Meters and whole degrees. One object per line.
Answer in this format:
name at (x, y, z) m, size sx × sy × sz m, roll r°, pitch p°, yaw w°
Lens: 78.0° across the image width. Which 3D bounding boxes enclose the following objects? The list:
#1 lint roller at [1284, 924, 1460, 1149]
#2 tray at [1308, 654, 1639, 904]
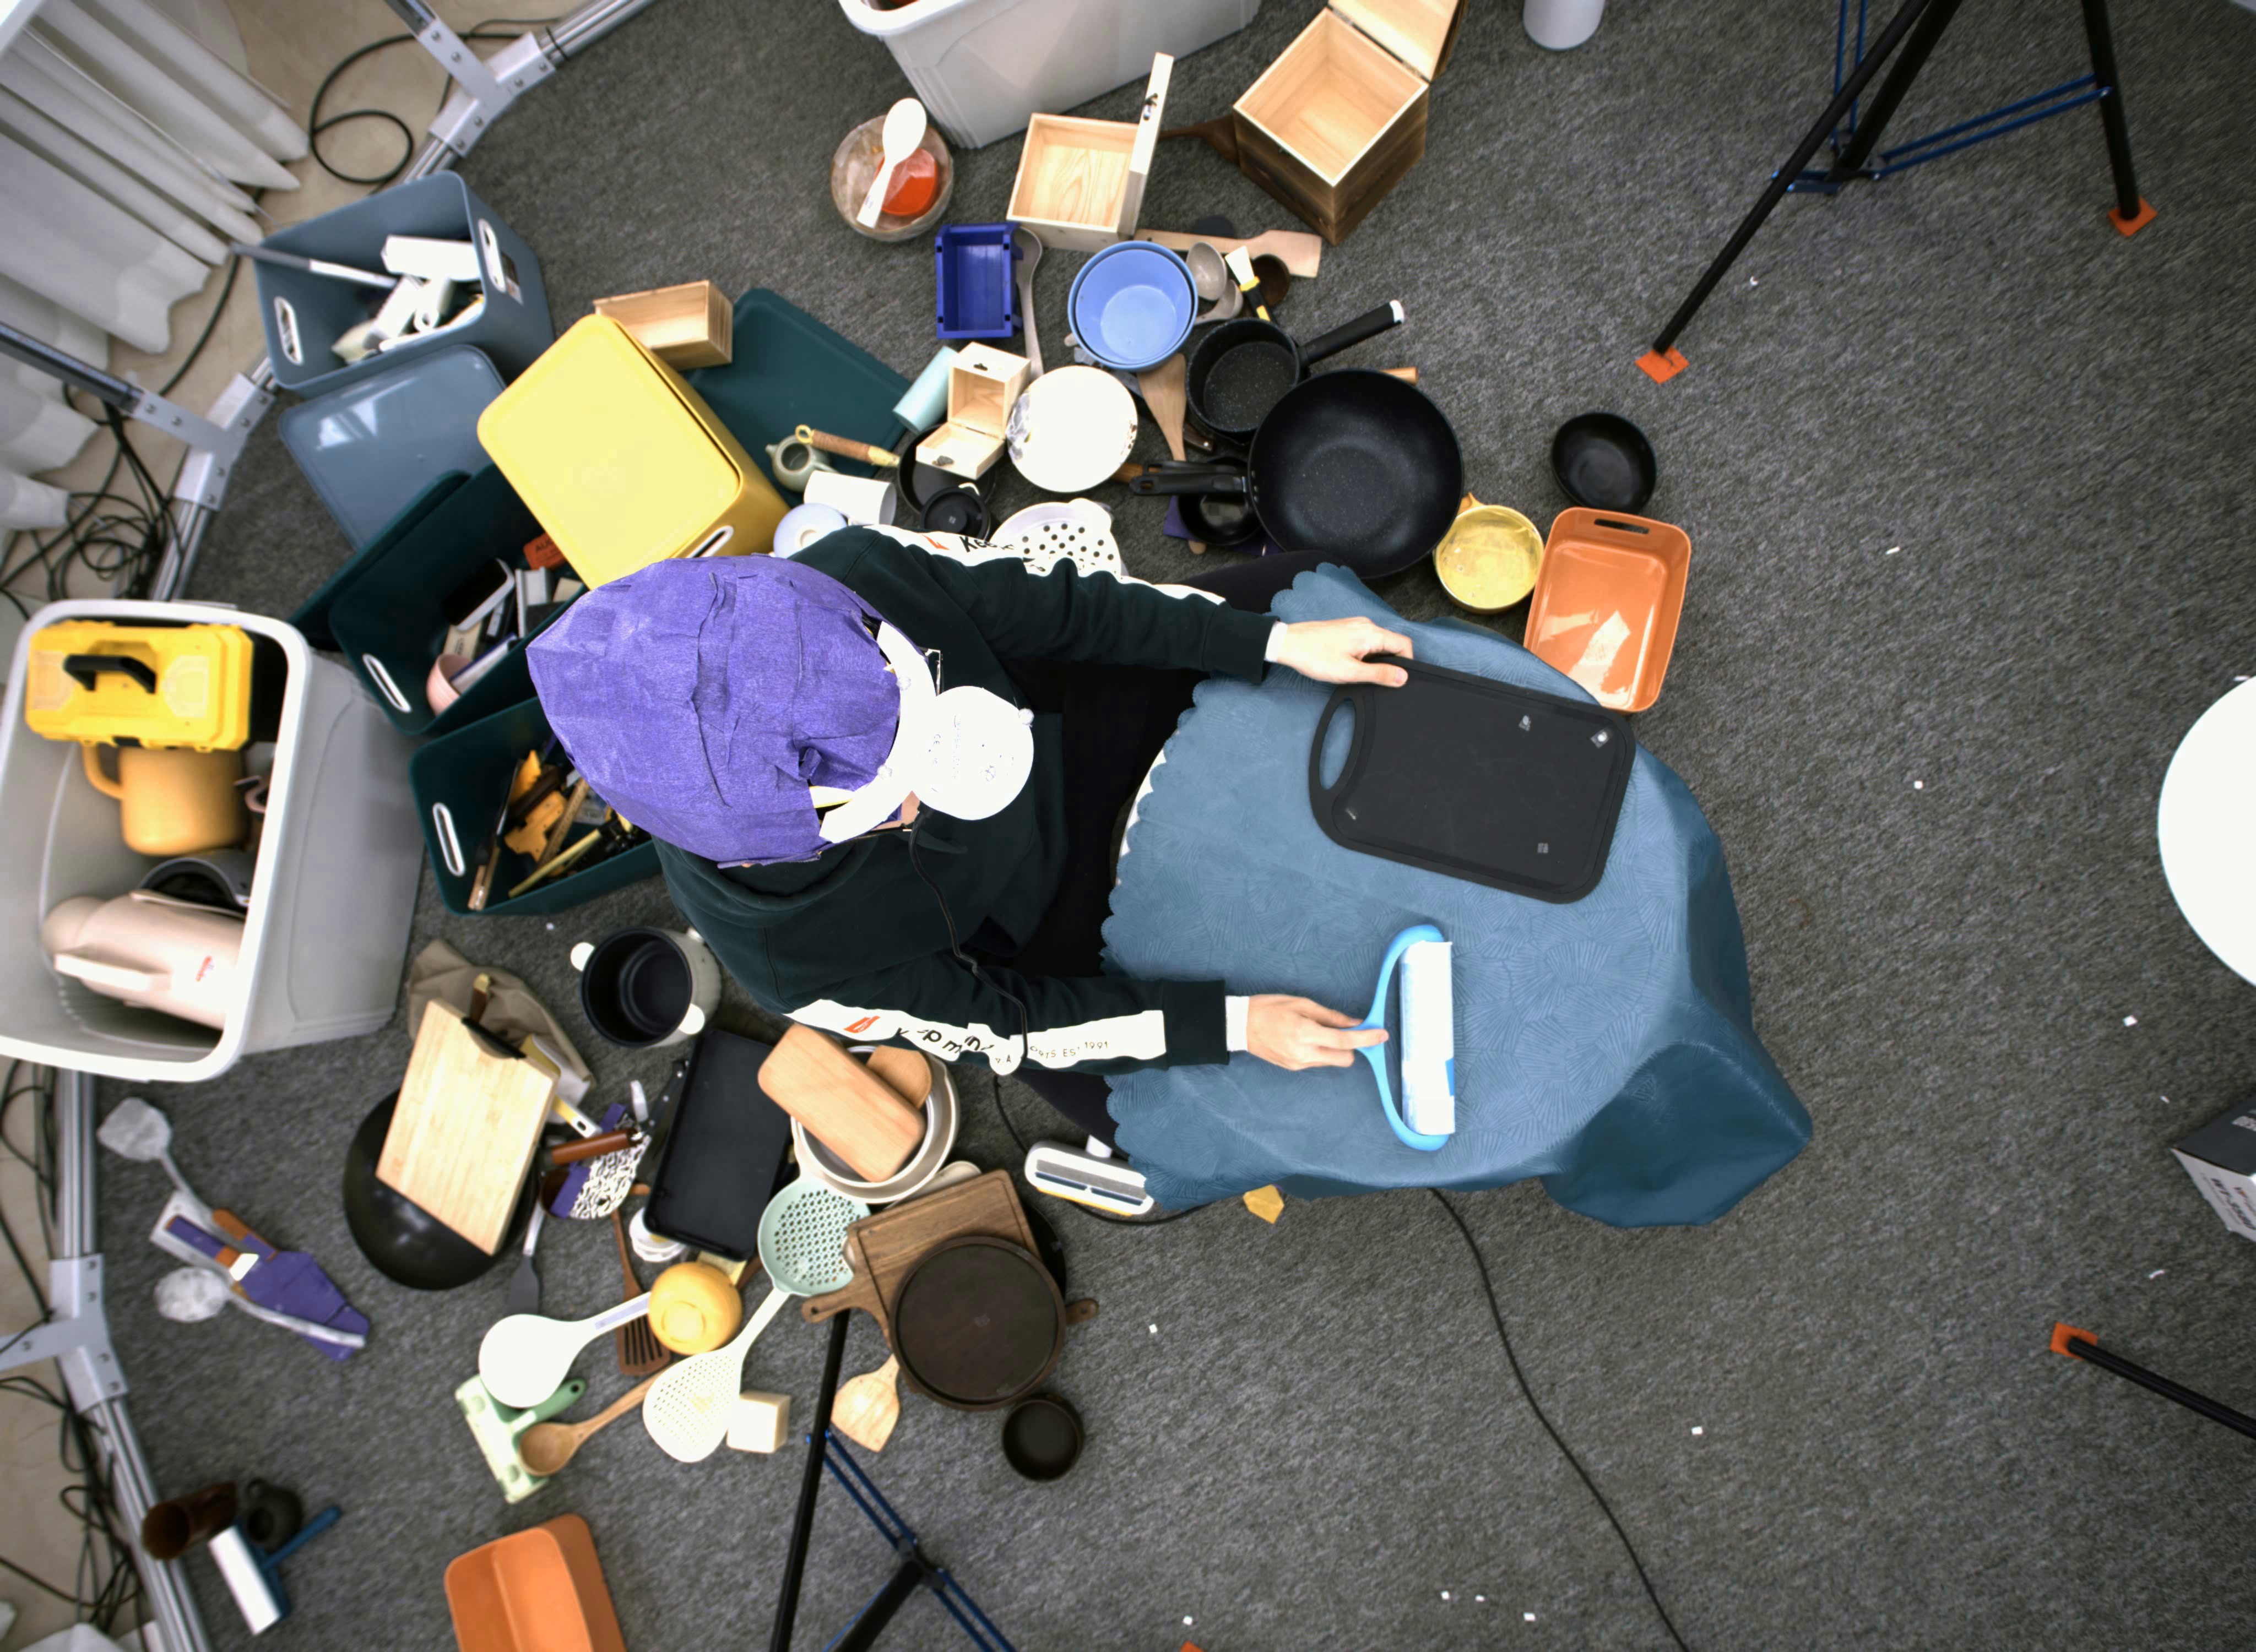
lint roller at (0.249, 0.218, 1.423) m, size 0.181 × 0.068 × 0.228 m, roll -4°, pitch 88°, yaw 9°
tray at (0.351, -0.054, 1.431) m, size 0.326 × 0.010 × 0.212 m, roll 16°, pitch 97°, yaw 10°
